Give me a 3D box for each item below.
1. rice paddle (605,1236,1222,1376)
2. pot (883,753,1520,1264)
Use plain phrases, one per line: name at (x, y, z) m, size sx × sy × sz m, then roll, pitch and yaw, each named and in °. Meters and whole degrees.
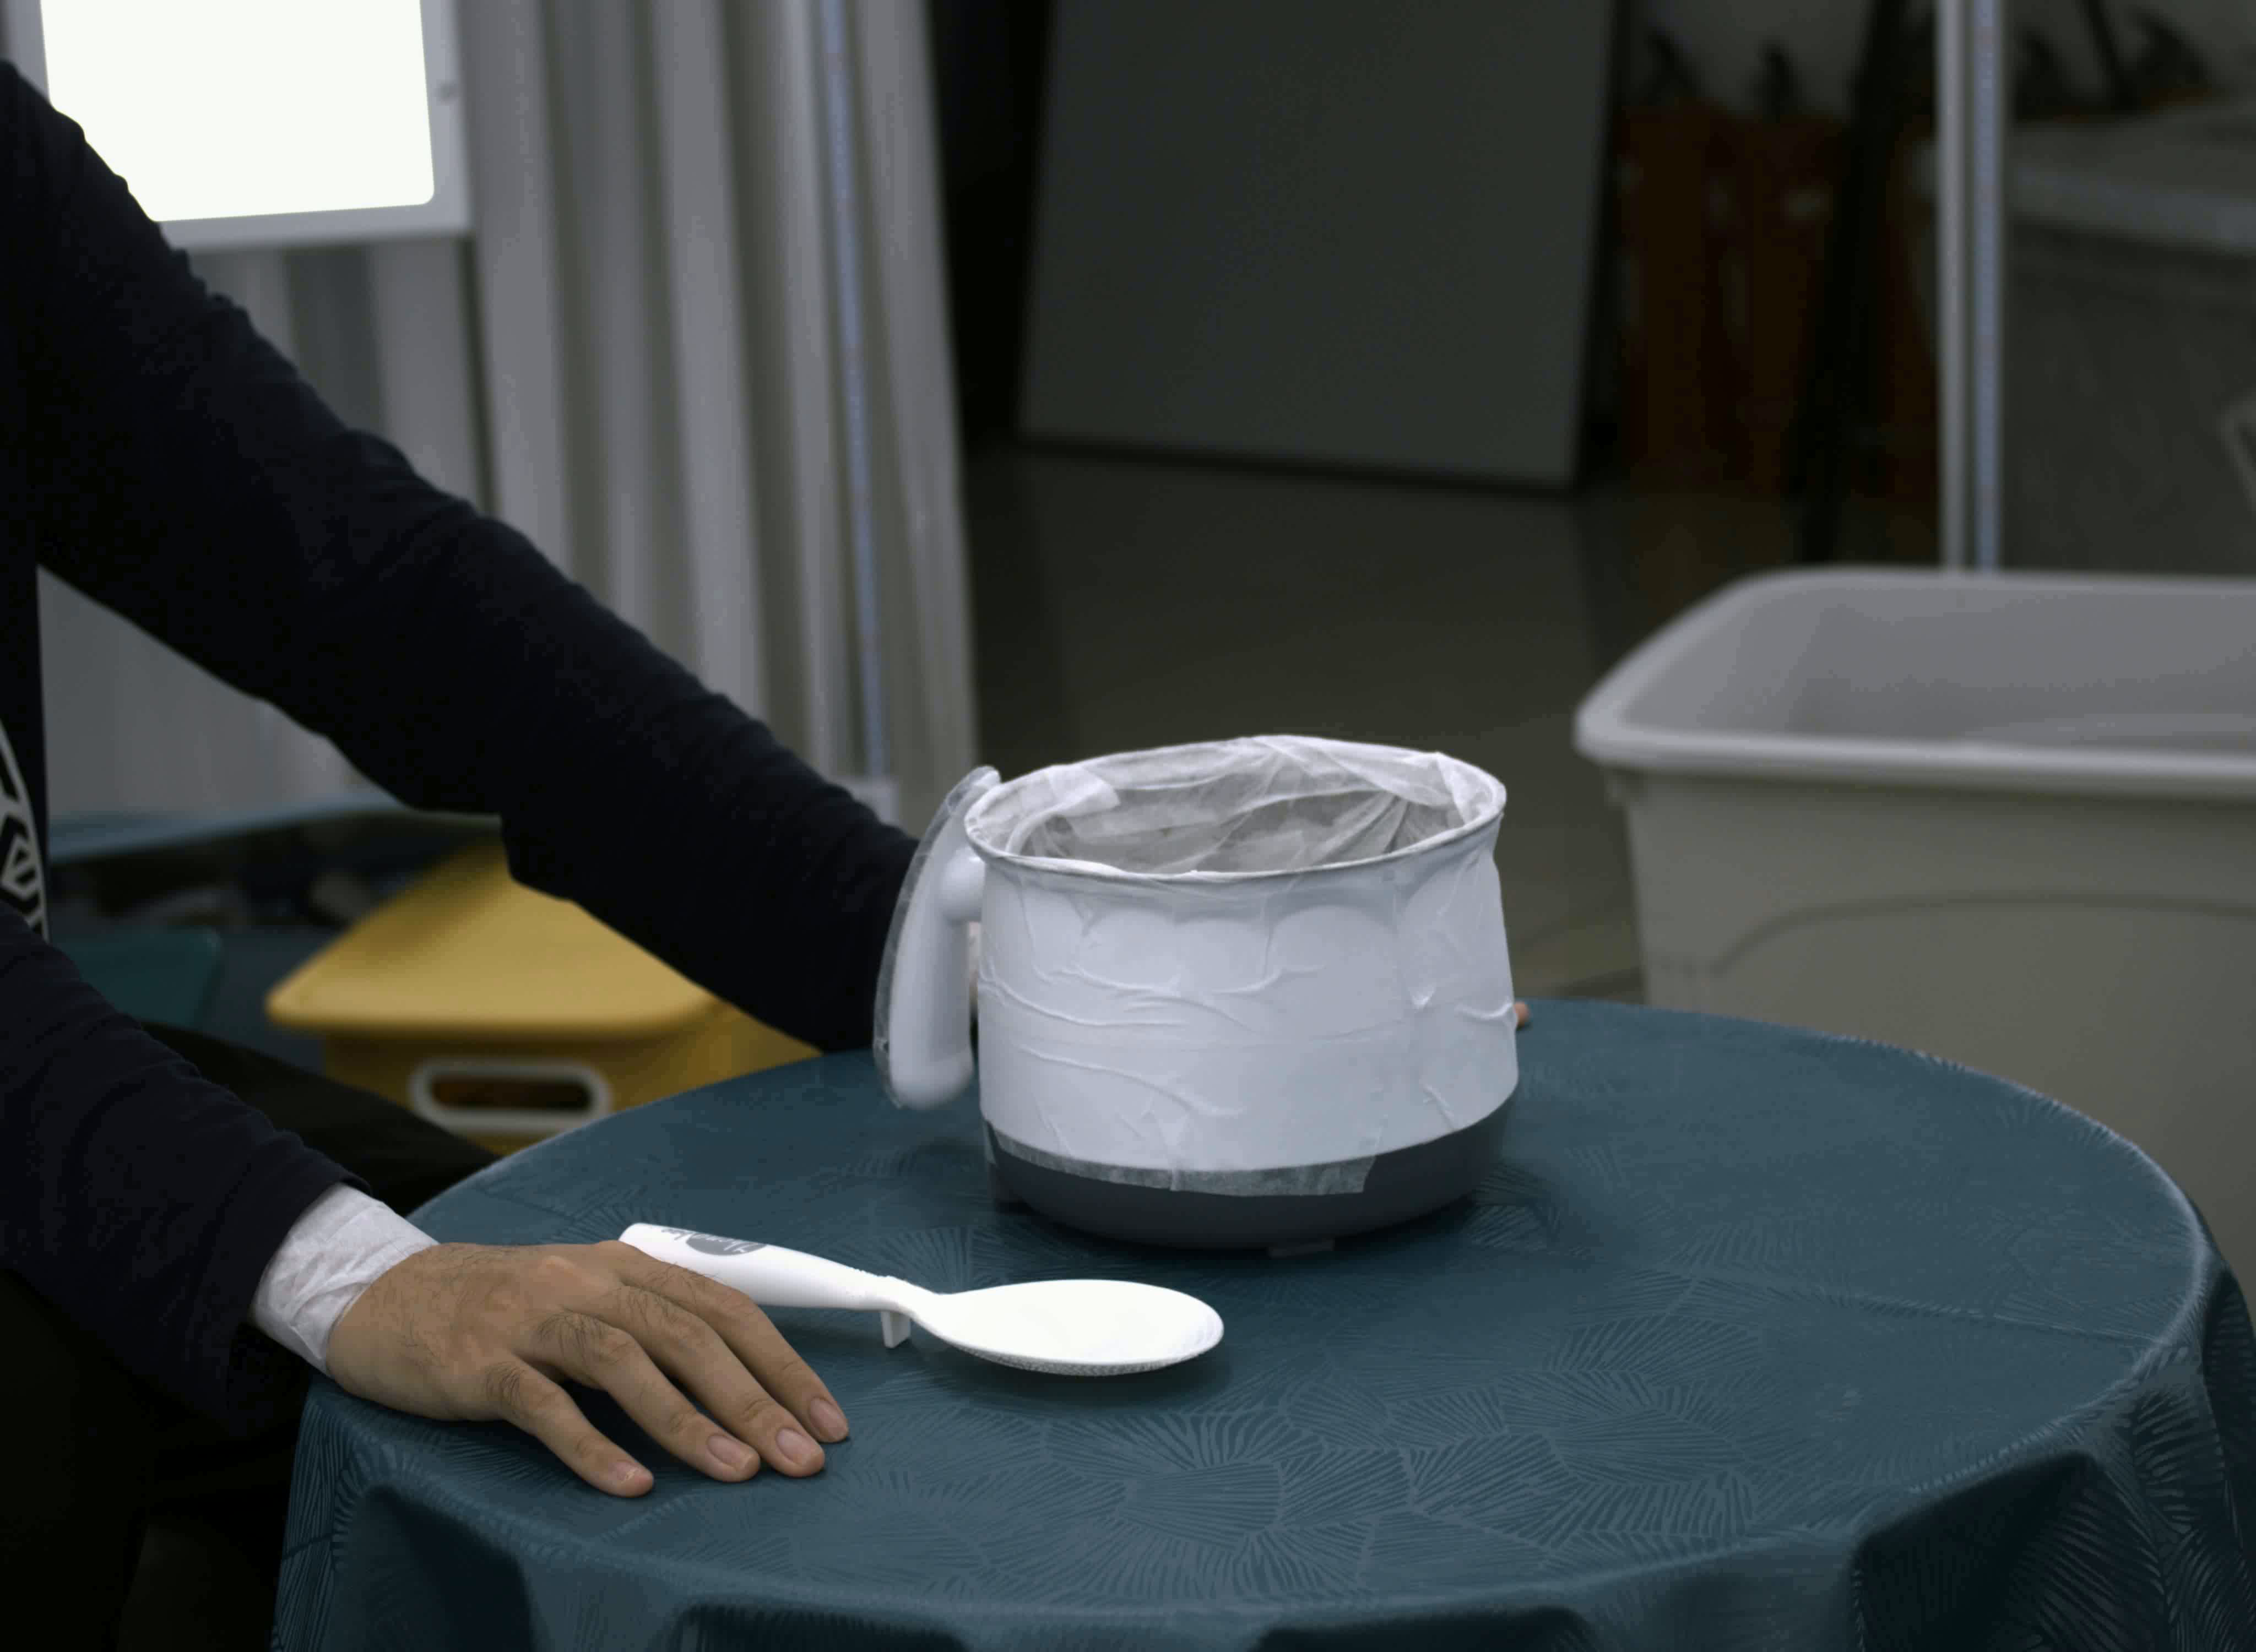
rice paddle at (-0.065, 0.145, 1.635) m, size 0.206 × 0.030 × 0.068 m, roll 2°, pitch 17°, yaw 28°
pot at (0.016, 0.056, 1.765) m, size 0.235 × 0.138 × 0.175 m, roll 3°, pitch 13°, yaw 34°
